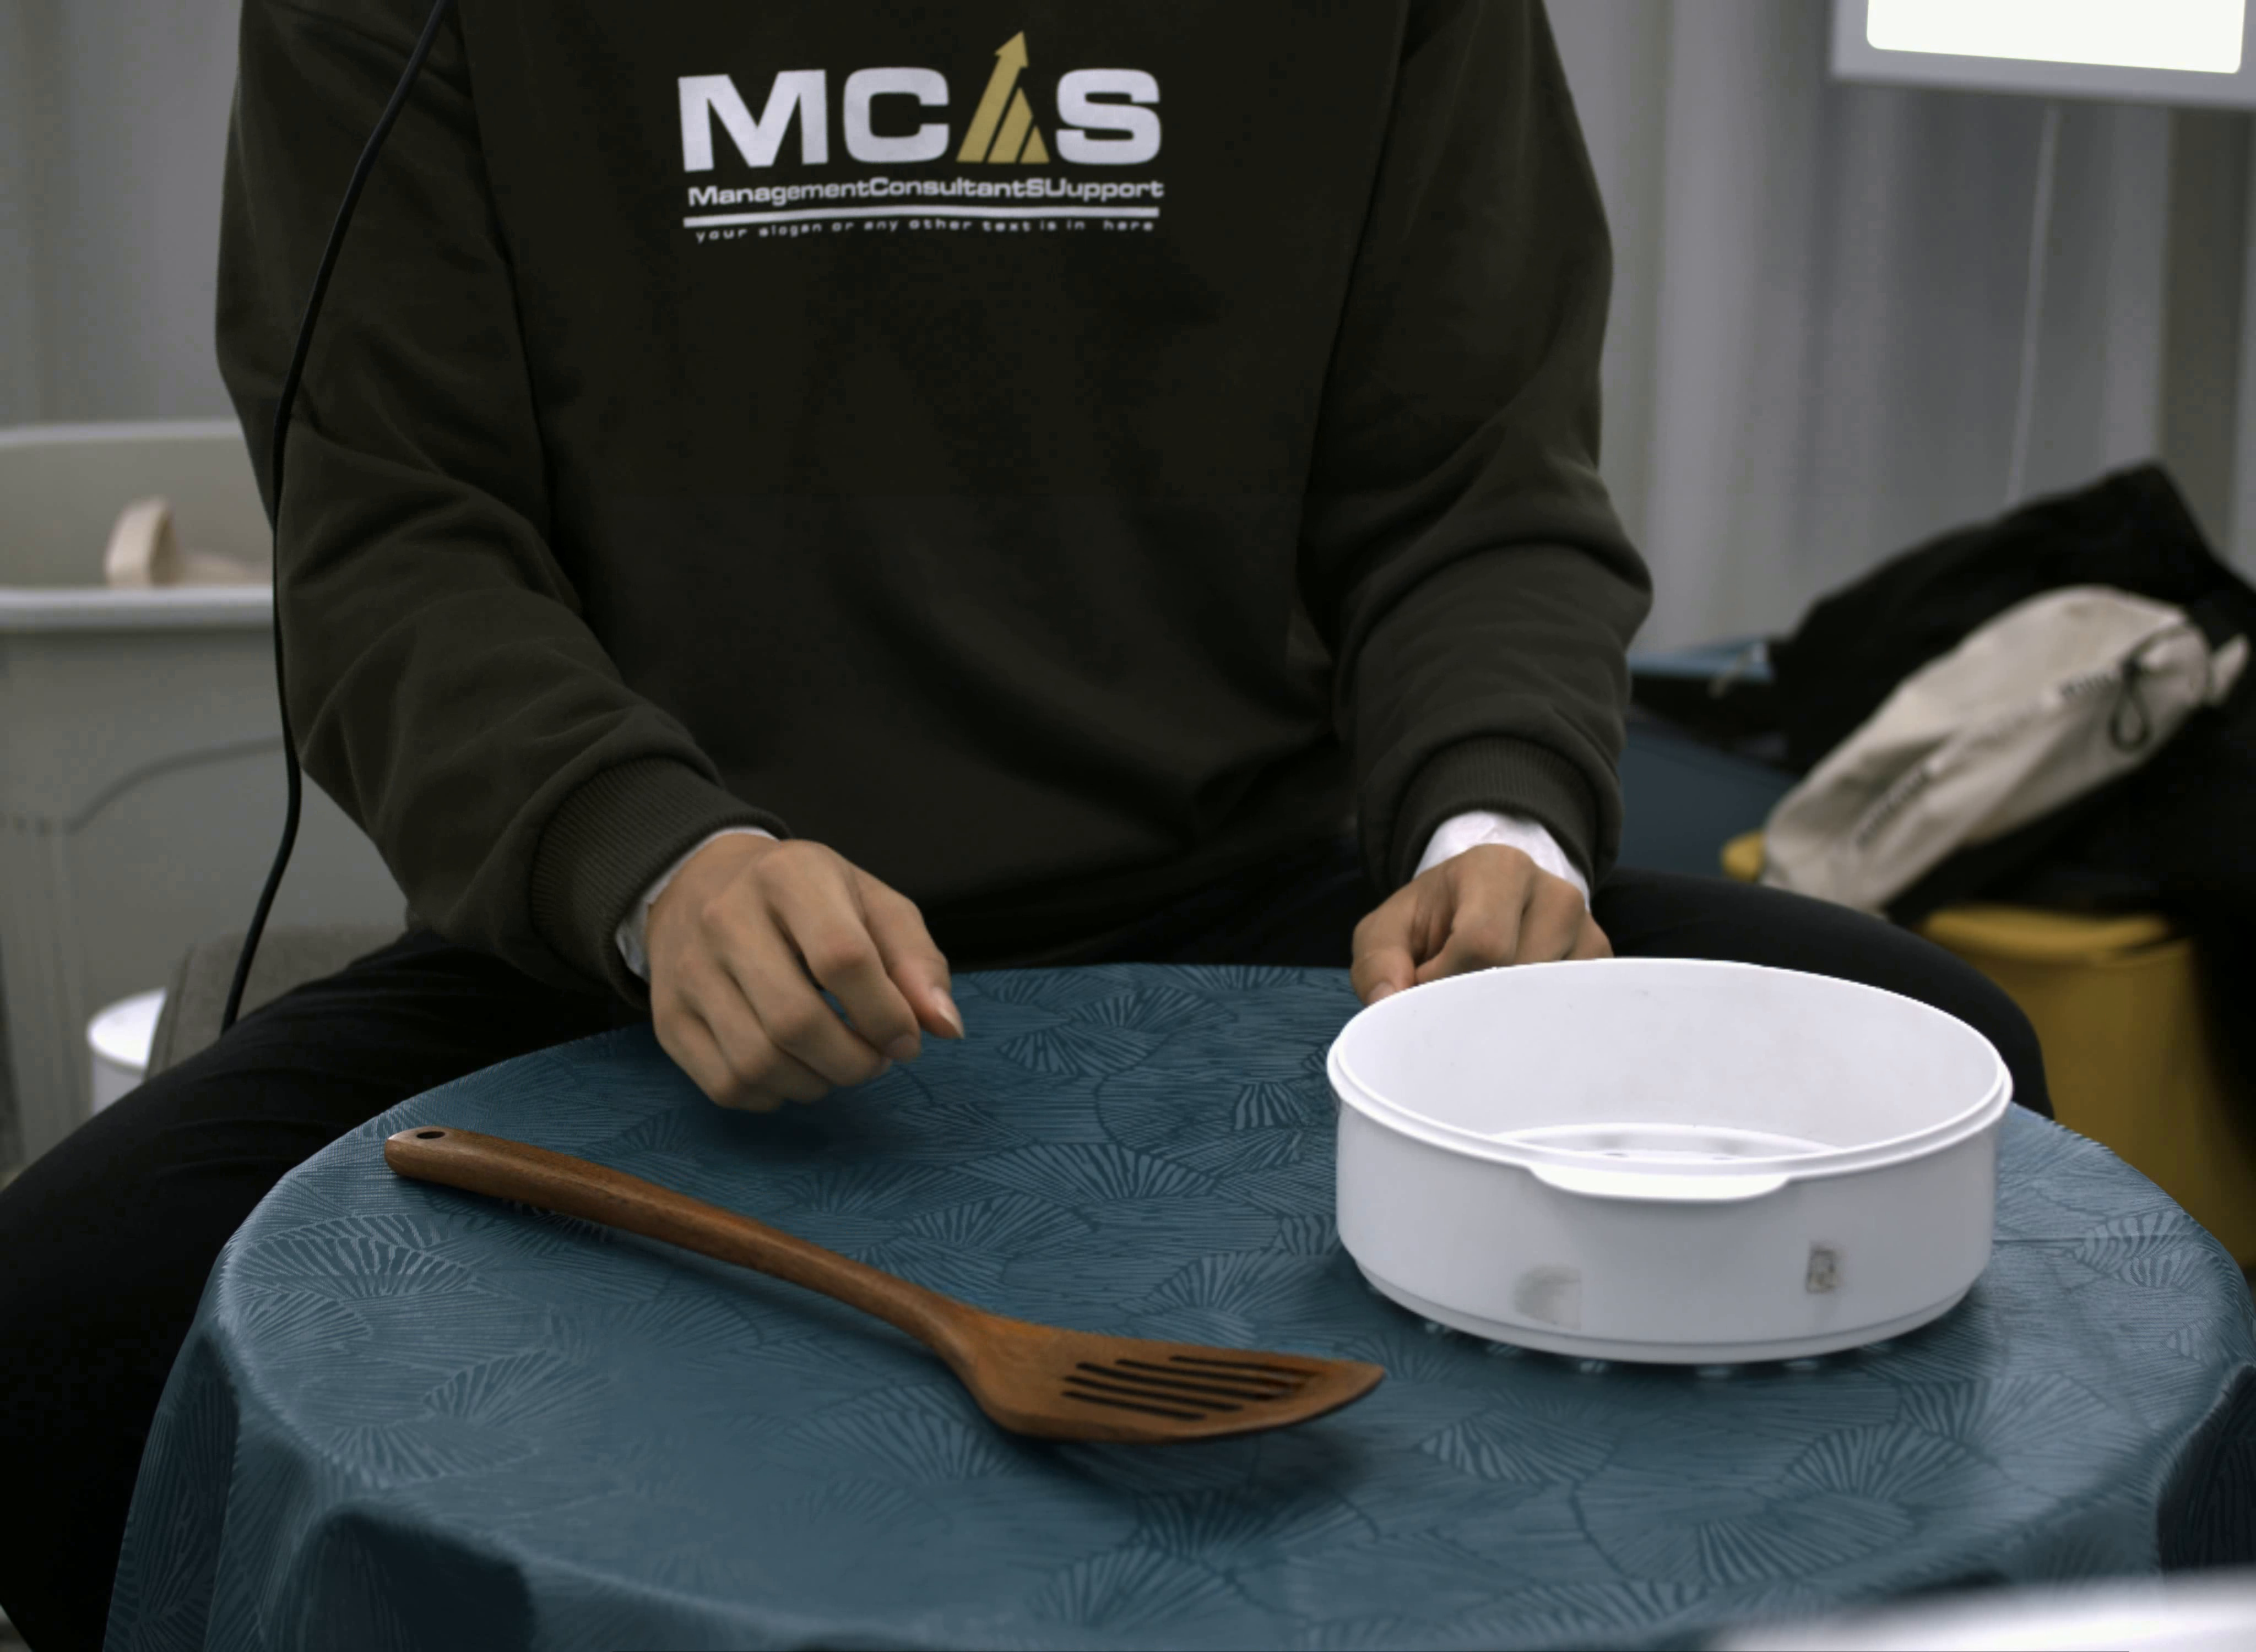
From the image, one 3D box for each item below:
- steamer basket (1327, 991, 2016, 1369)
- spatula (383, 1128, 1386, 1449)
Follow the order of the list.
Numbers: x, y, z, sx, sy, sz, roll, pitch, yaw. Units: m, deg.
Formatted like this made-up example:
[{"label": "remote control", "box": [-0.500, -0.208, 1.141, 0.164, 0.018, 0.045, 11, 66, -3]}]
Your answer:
[{"label": "steamer basket", "box": [0.158, 0.103, 1.549, 0.201, 0.070, 0.230, 4, 12, 6]}, {"label": "spatula", "box": [-0.090, 0.132, 1.513, 0.380, 0.024, 0.086, 13, 17, 41]}]
